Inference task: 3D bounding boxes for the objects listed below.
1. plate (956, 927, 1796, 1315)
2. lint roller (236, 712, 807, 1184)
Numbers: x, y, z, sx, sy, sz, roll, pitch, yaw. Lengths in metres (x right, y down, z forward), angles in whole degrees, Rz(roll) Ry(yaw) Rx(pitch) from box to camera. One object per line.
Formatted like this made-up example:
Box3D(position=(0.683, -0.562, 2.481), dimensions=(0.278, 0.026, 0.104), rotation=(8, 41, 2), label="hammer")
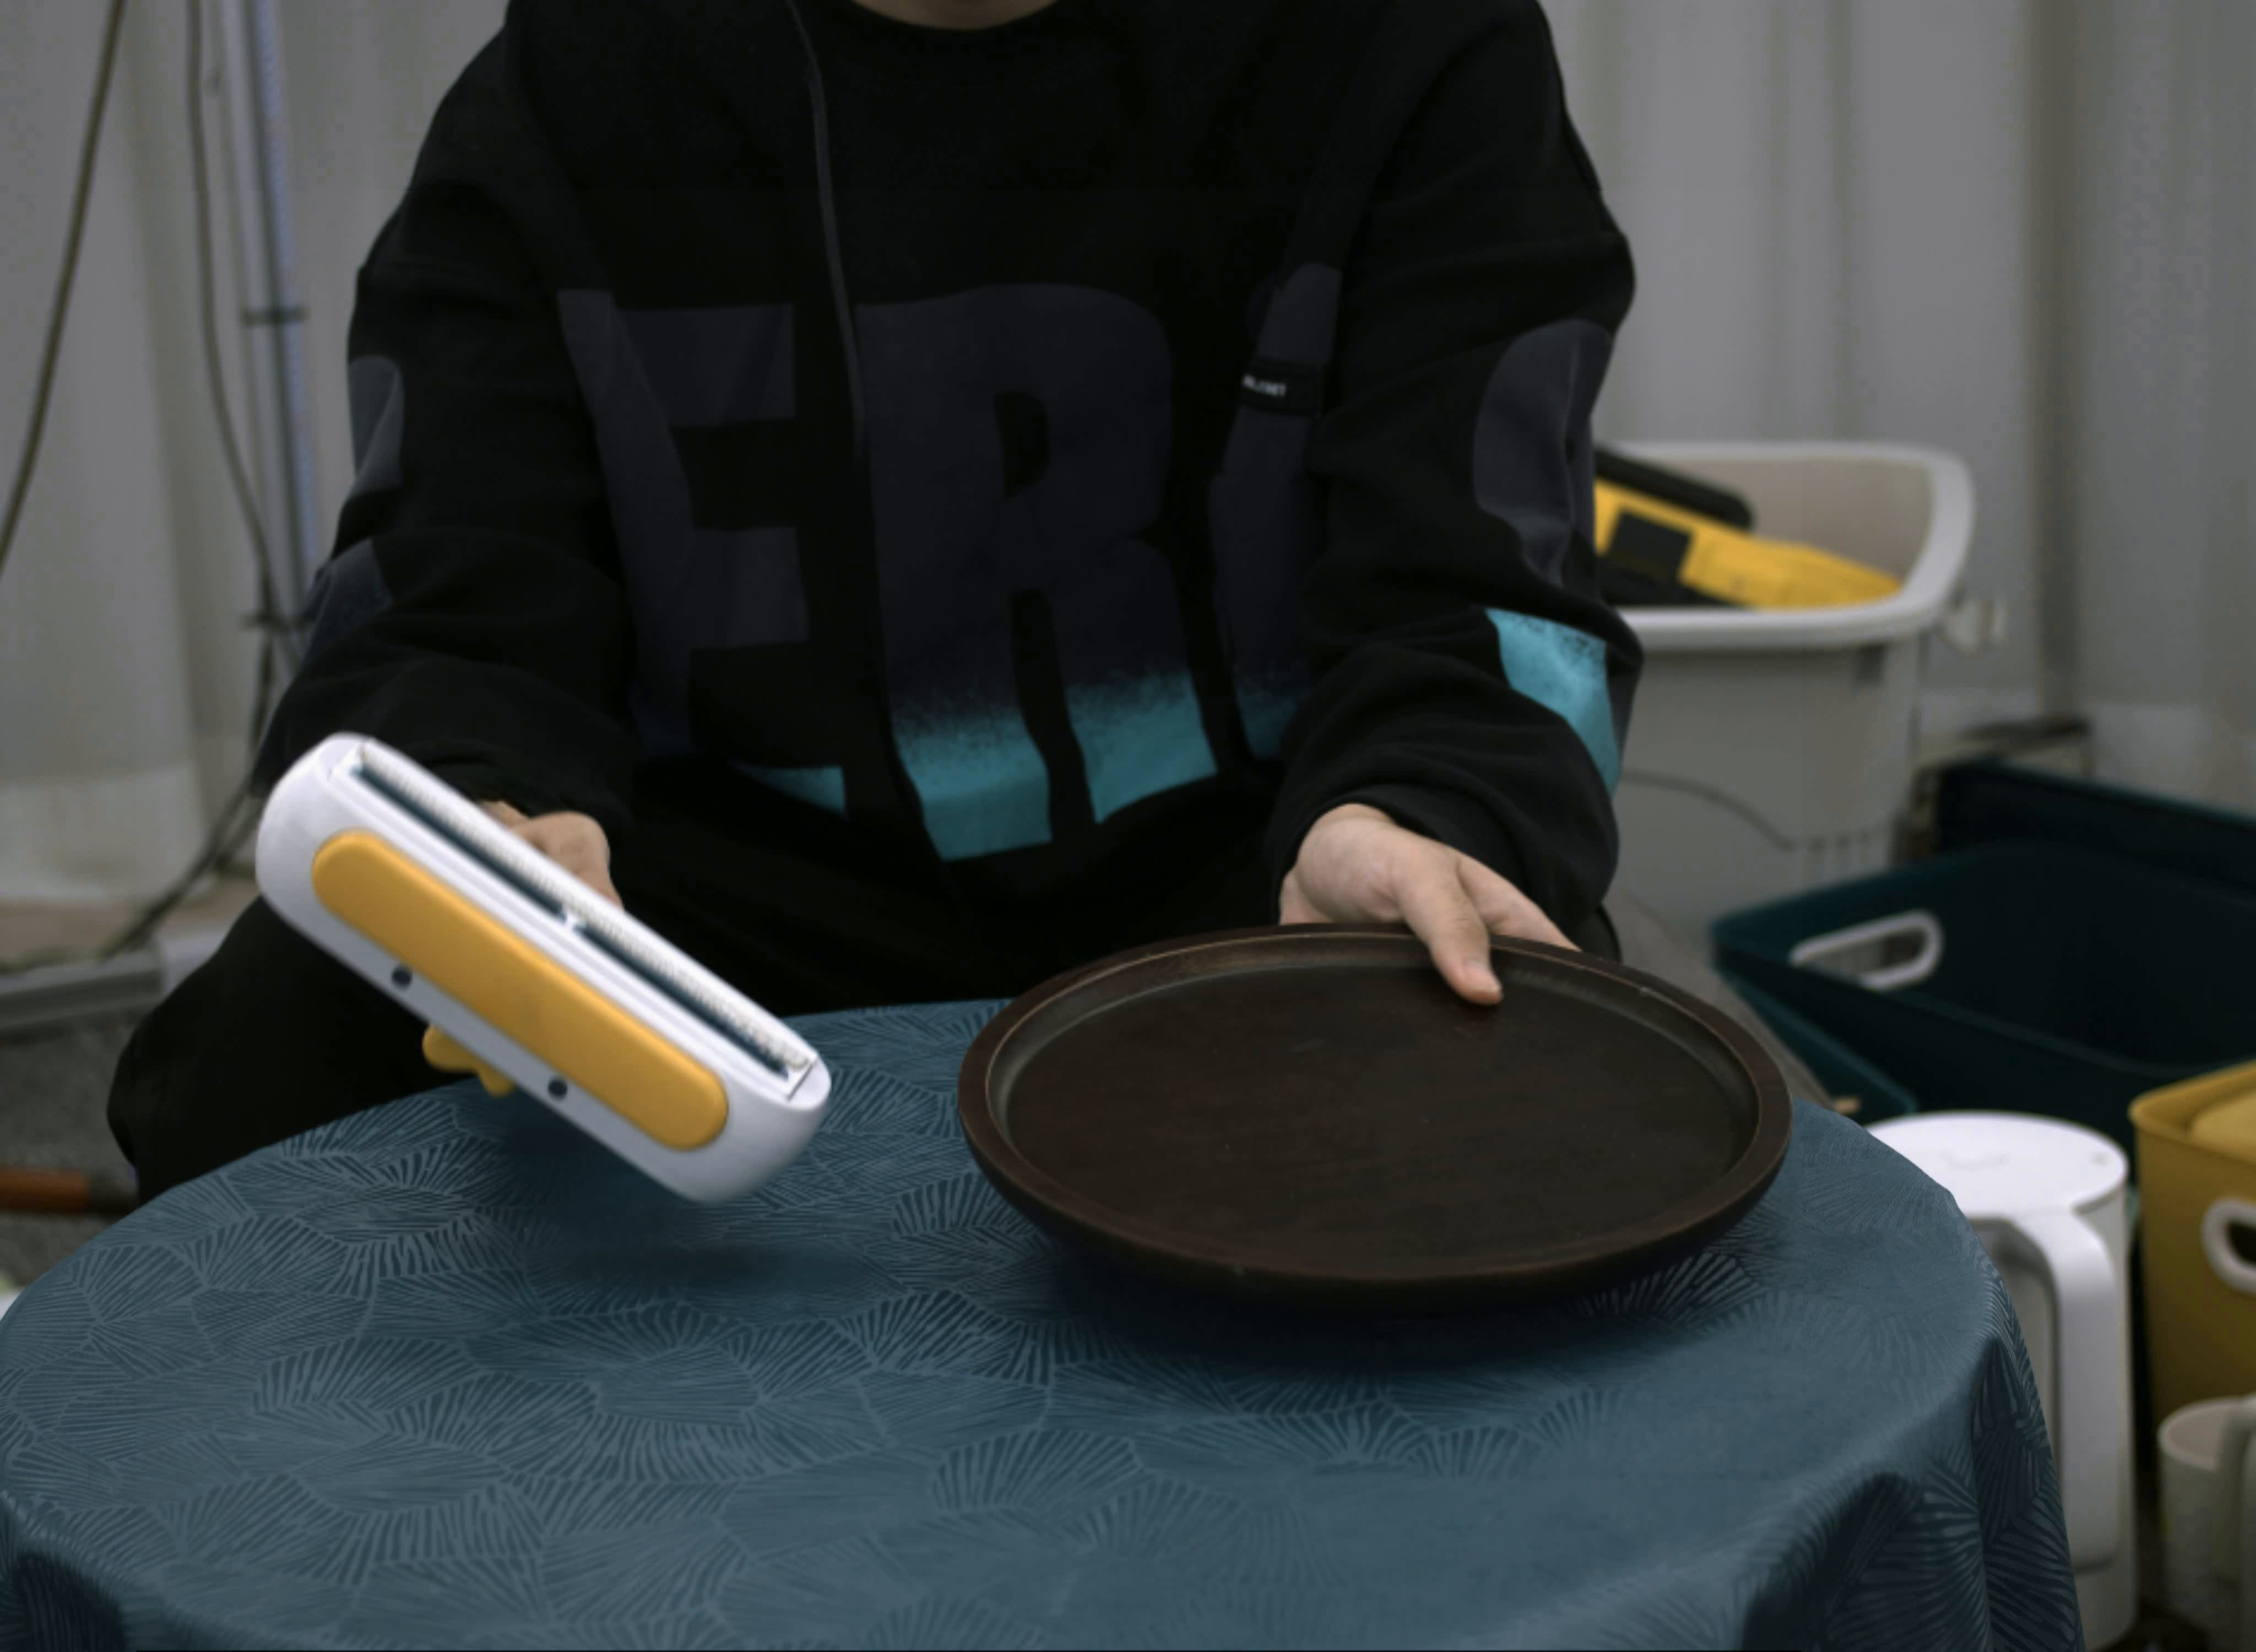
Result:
Box3D(position=(0.074, 0.086, 1.648), dimensions=(0.254, 0.029, 0.257), rotation=(1, 20, -1), label="plate")
Box3D(position=(-0.181, 0.038, 1.715), dimensions=(0.193, 0.074, 0.192), rotation=(32, 7, 4), label="lint roller")
